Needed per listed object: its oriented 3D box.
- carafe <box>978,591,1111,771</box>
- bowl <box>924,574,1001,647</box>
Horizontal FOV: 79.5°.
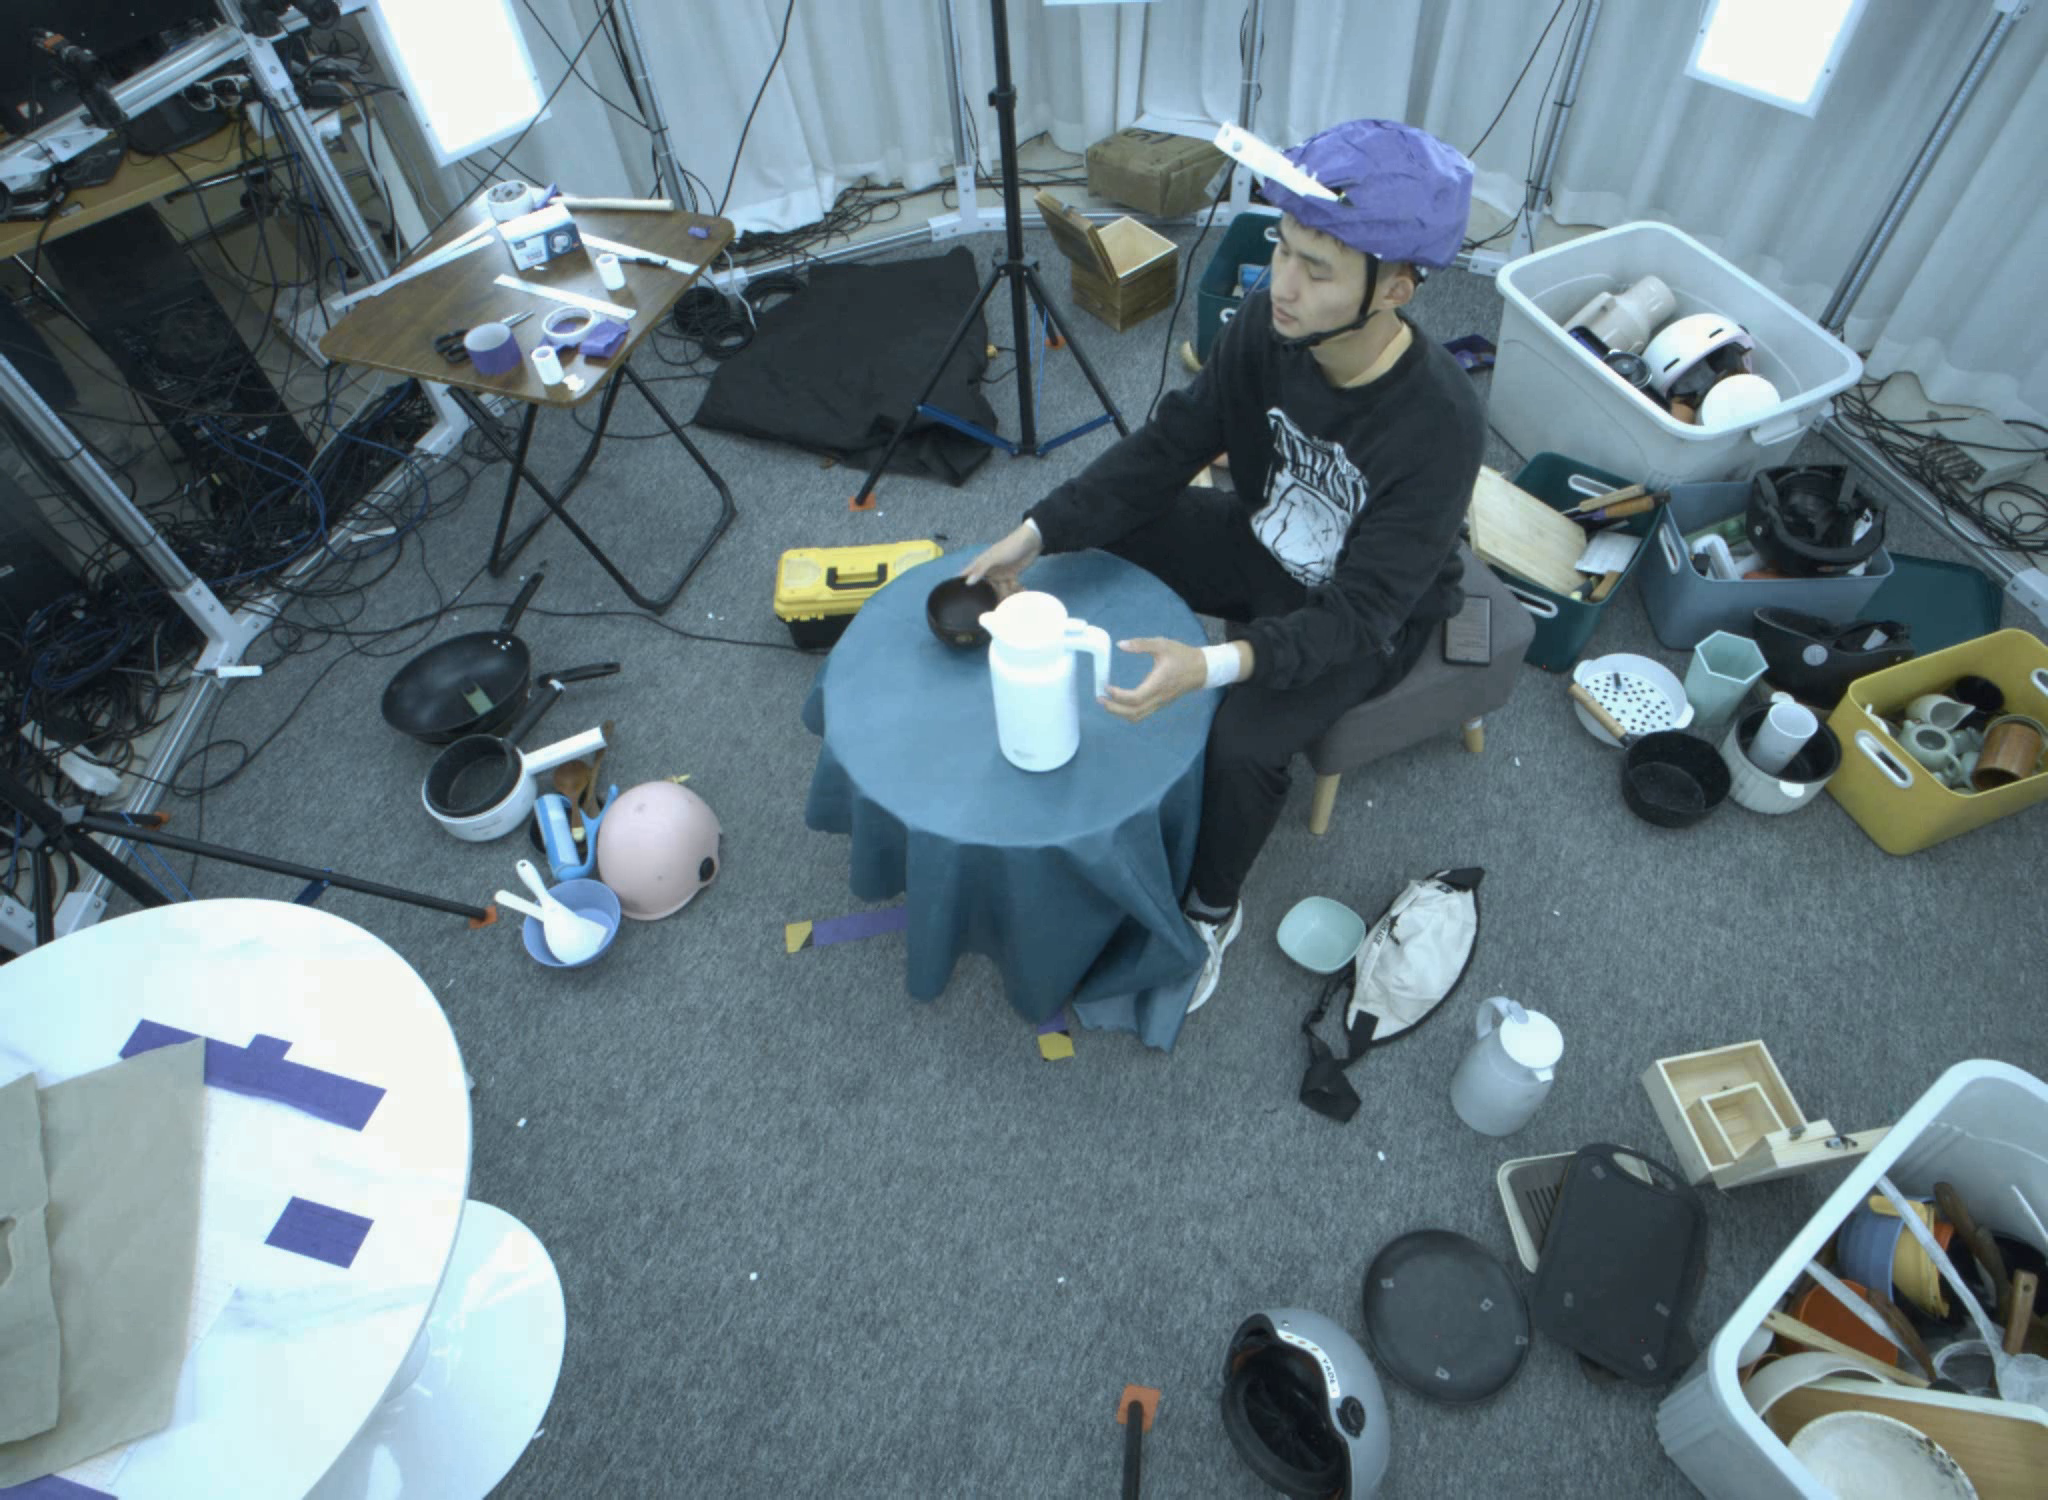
[{"bbox_3d":[0.033,-0.090,1.681,0.172,0.272,0.123,5,53,8],"label":"carafe"},{"bbox_3d":[-0.093,-0.206,1.887,0.118,0.070,0.117,0,54,2],"label":"bowl"}]
